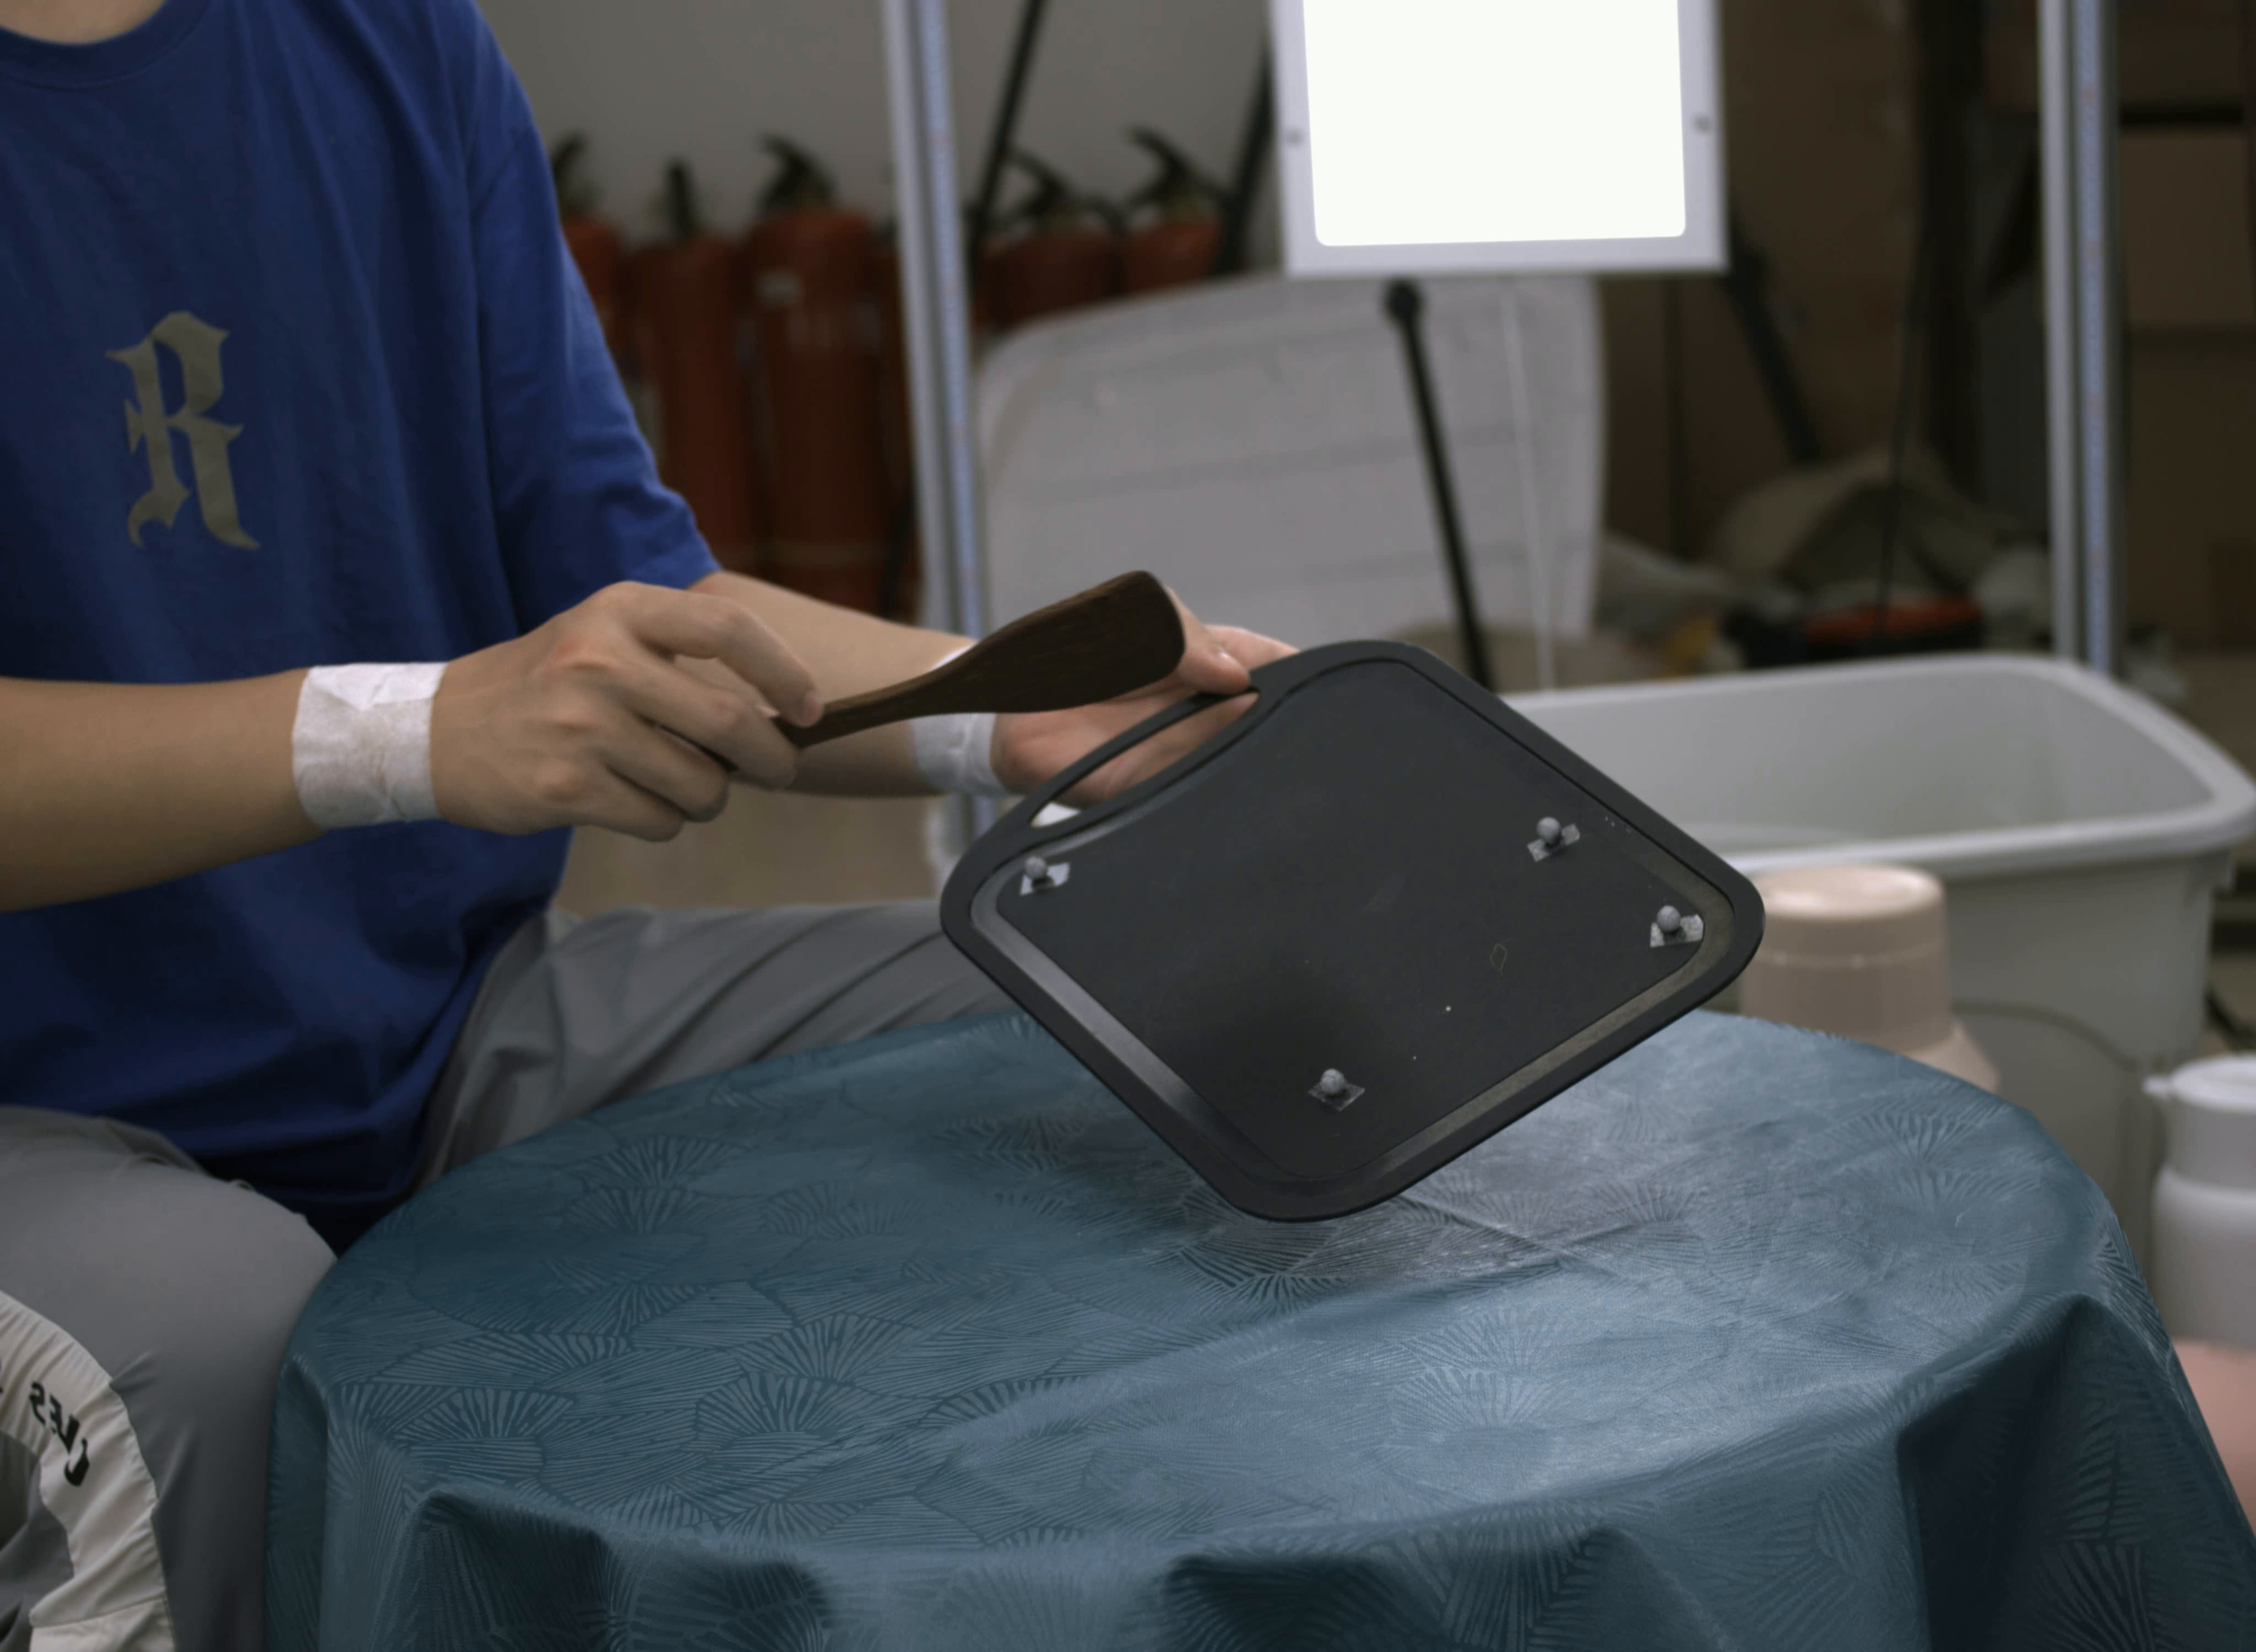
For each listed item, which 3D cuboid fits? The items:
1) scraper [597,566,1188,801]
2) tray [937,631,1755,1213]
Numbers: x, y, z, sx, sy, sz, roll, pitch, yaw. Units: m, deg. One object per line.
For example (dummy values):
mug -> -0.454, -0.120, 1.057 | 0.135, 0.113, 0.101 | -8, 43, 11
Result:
scraper -> -0.082, -0.043, 1.895 | 0.212, 0.011, 0.075 | -16, -27, 9
tray -> 0.065, 0.023, 1.912 | 0.209, 0.010, 0.330 | -32, 33, -11
